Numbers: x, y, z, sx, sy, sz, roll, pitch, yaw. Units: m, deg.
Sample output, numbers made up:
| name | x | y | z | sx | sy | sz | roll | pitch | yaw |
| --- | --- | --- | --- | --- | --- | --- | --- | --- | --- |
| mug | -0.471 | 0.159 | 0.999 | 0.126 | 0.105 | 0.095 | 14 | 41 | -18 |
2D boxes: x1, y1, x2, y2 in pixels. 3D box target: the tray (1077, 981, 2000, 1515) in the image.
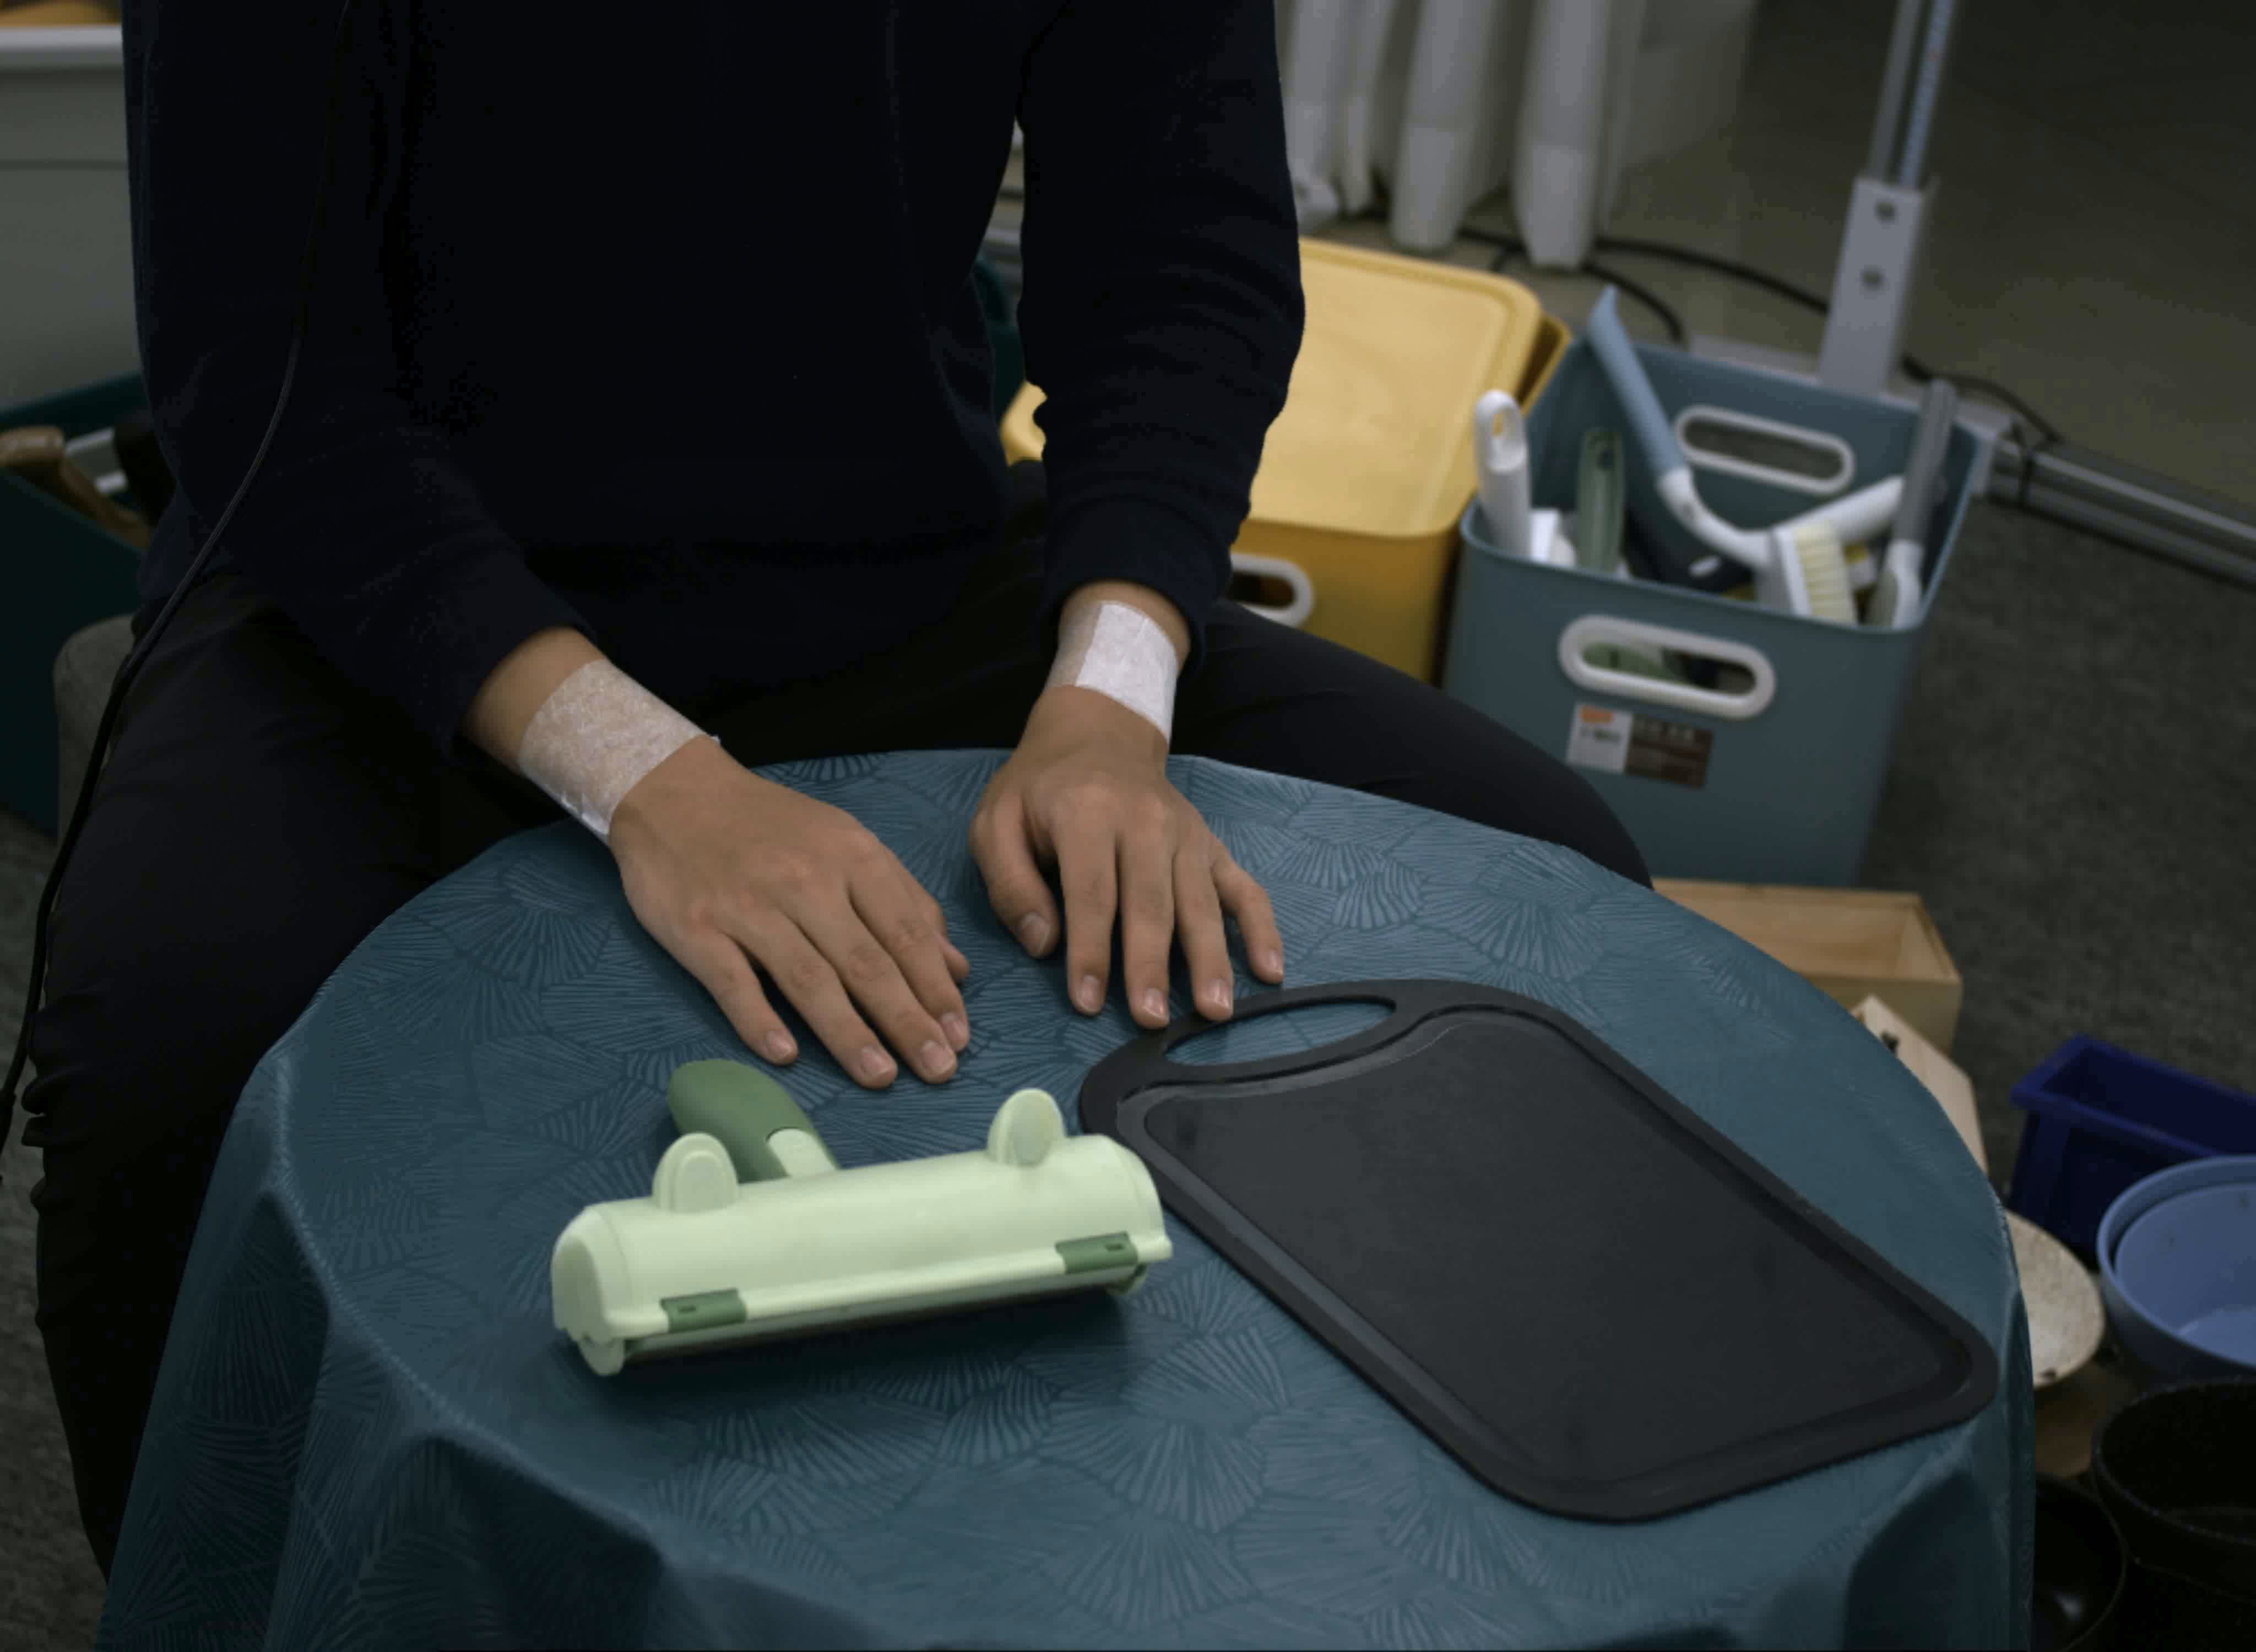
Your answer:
| name | x | y | z | sx | sy | sz | roll | pitch | yaw |
| --- | --- | --- | --- | --- | --- | --- | --- | --- | --- |
| tray | 0.129 | 0.133 | 1.807 | 0.210 | 0.010 | 0.328 | -12 | 32 | -31 |

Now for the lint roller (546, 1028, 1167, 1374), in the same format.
| name | x | y | z | sx | sy | sz | roll | pitch | yaw |
| --- | --- | --- | --- | --- | --- | --- | --- | --- | --- |
| lint roller | -0.108 | 0.098 | 1.733 | 0.197 | 0.082 | 0.185 | -6 | 36 | -26 |
